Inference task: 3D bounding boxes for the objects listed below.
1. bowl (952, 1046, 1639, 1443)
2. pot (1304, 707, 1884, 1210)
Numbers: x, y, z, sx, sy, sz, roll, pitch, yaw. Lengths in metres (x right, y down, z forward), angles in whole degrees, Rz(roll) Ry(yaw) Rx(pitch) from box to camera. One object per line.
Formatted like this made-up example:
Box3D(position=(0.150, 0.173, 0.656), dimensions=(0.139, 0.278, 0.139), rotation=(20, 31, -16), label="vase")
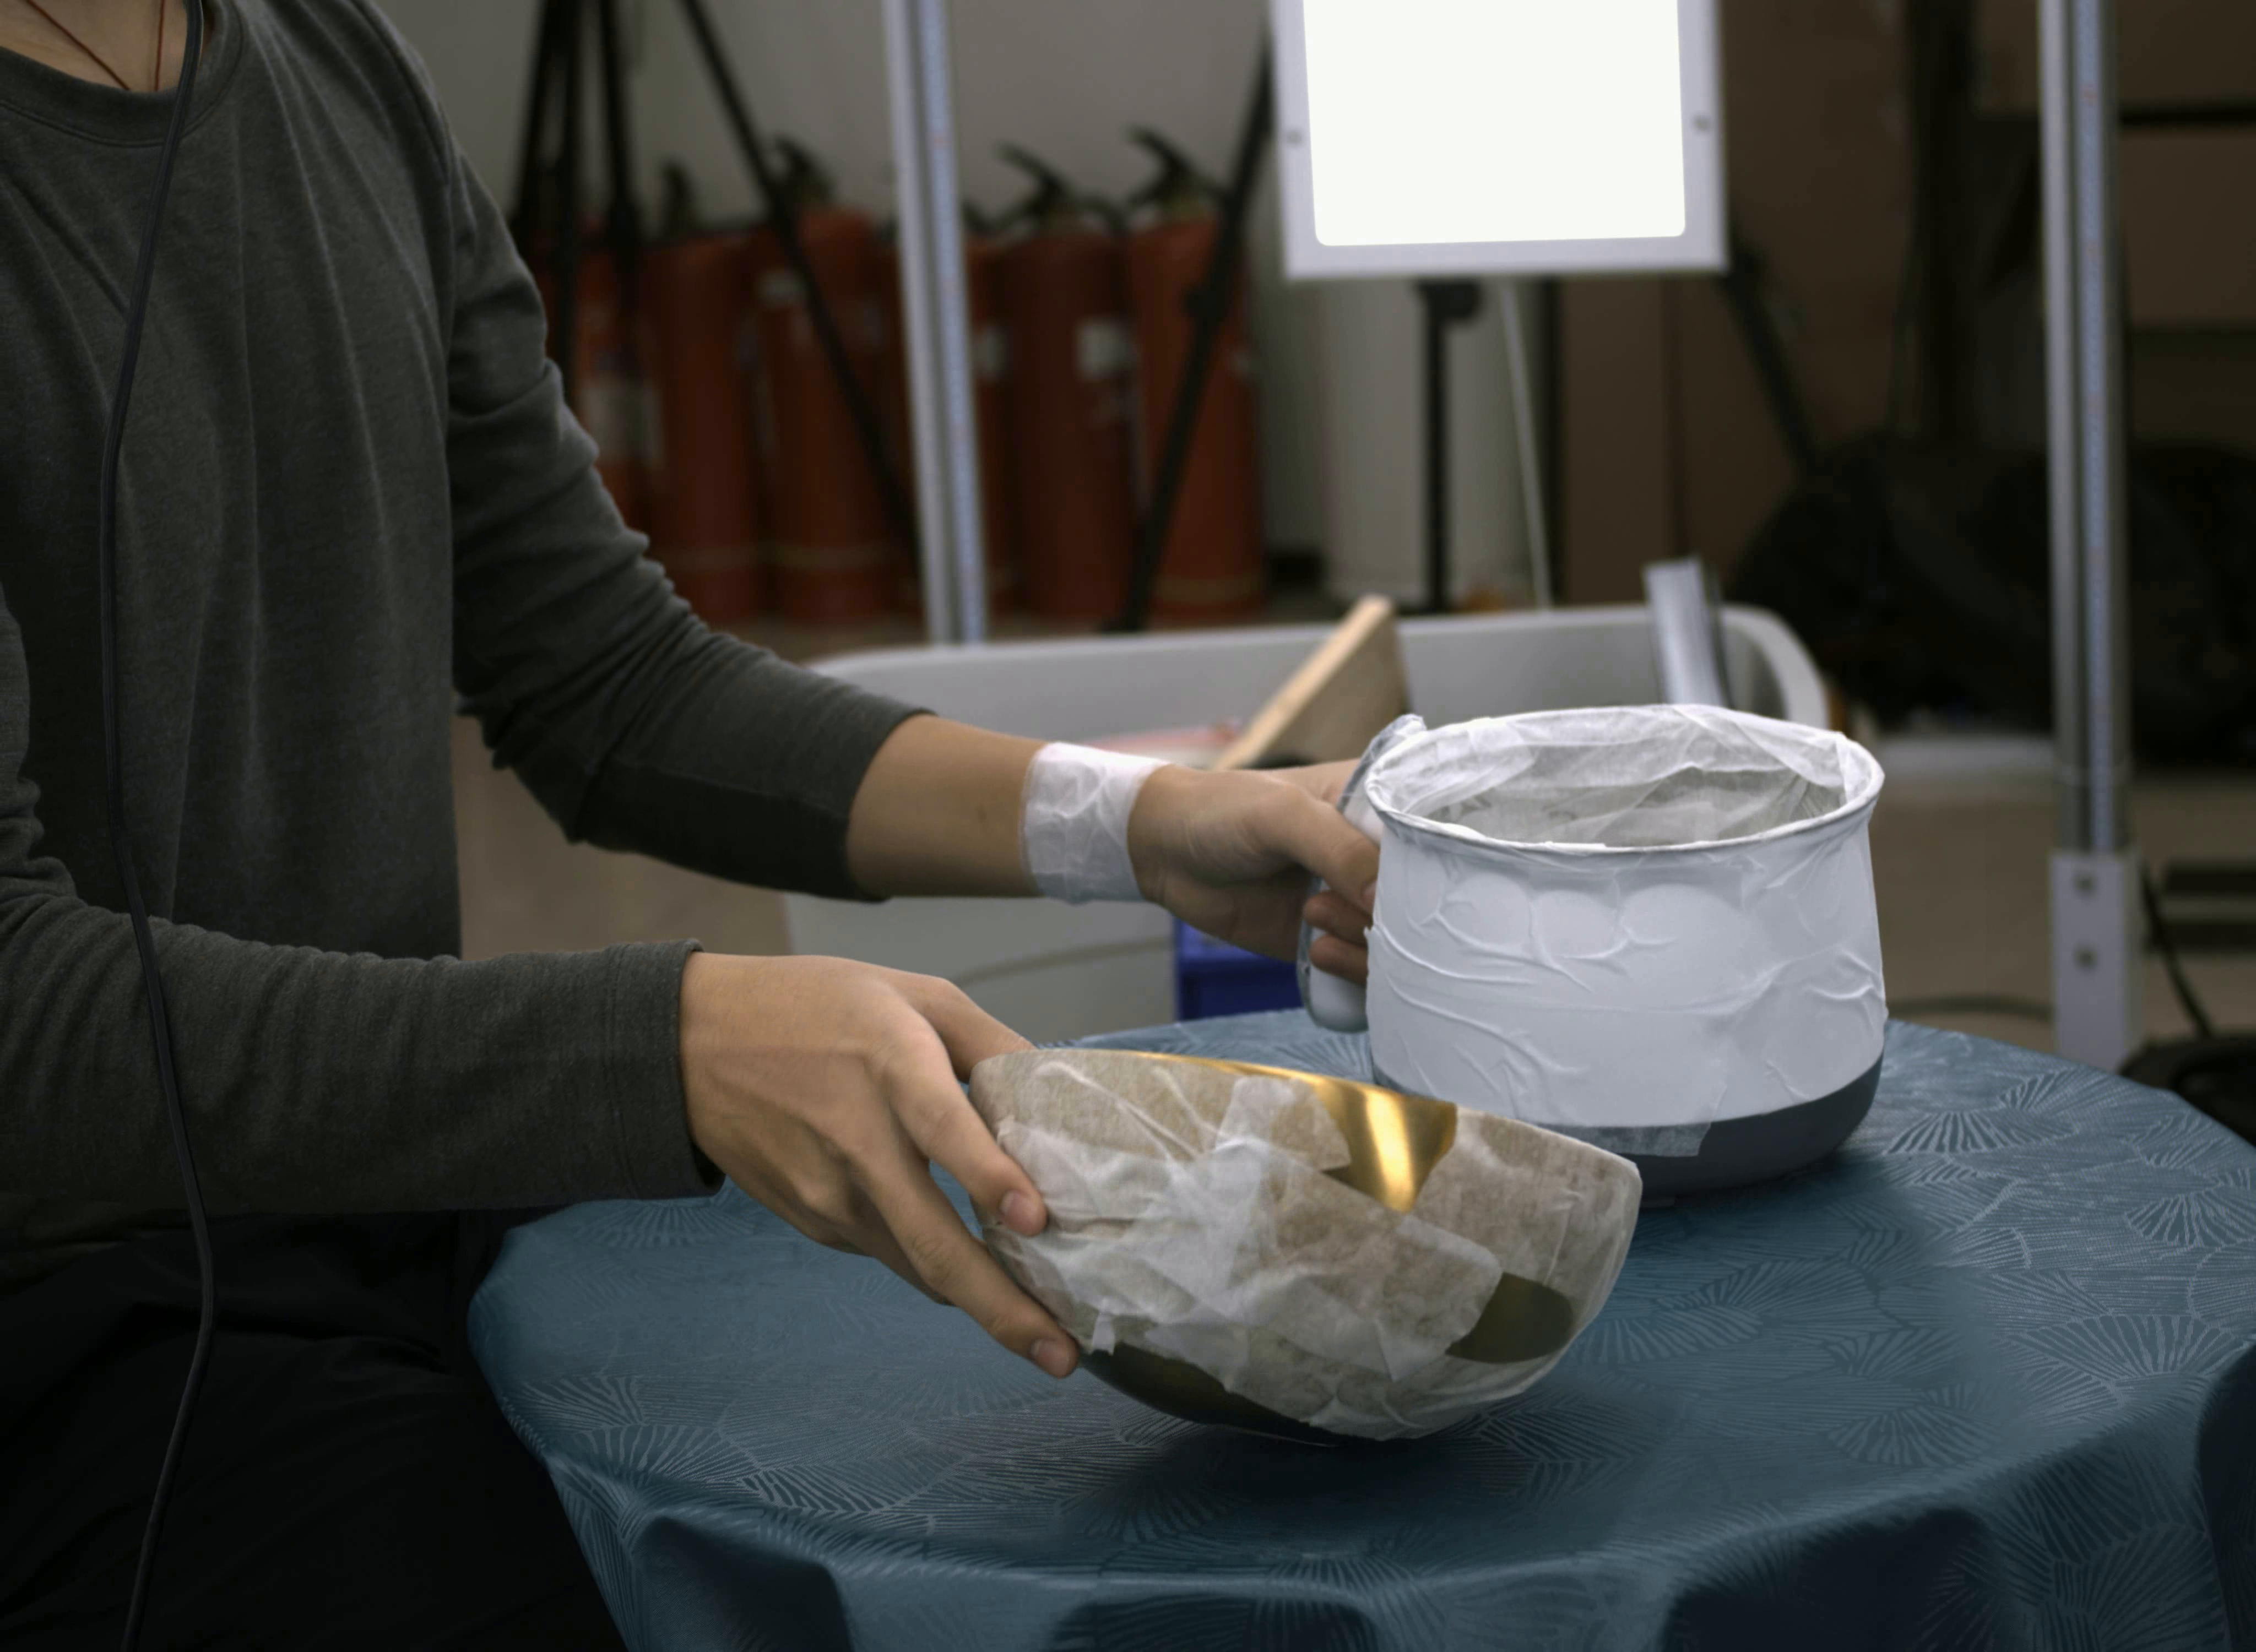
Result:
Box3D(position=(0.042, 0.131, 1.620), dimensions=(0.214, 0.094, 0.215), rotation=(9, -10, 0), label="bowl")
Box3D(position=(0.151, 0.039, 1.902), dimensions=(0.174, 0.137, 0.238), rotation=(-18, 21, -42), label="pot")
